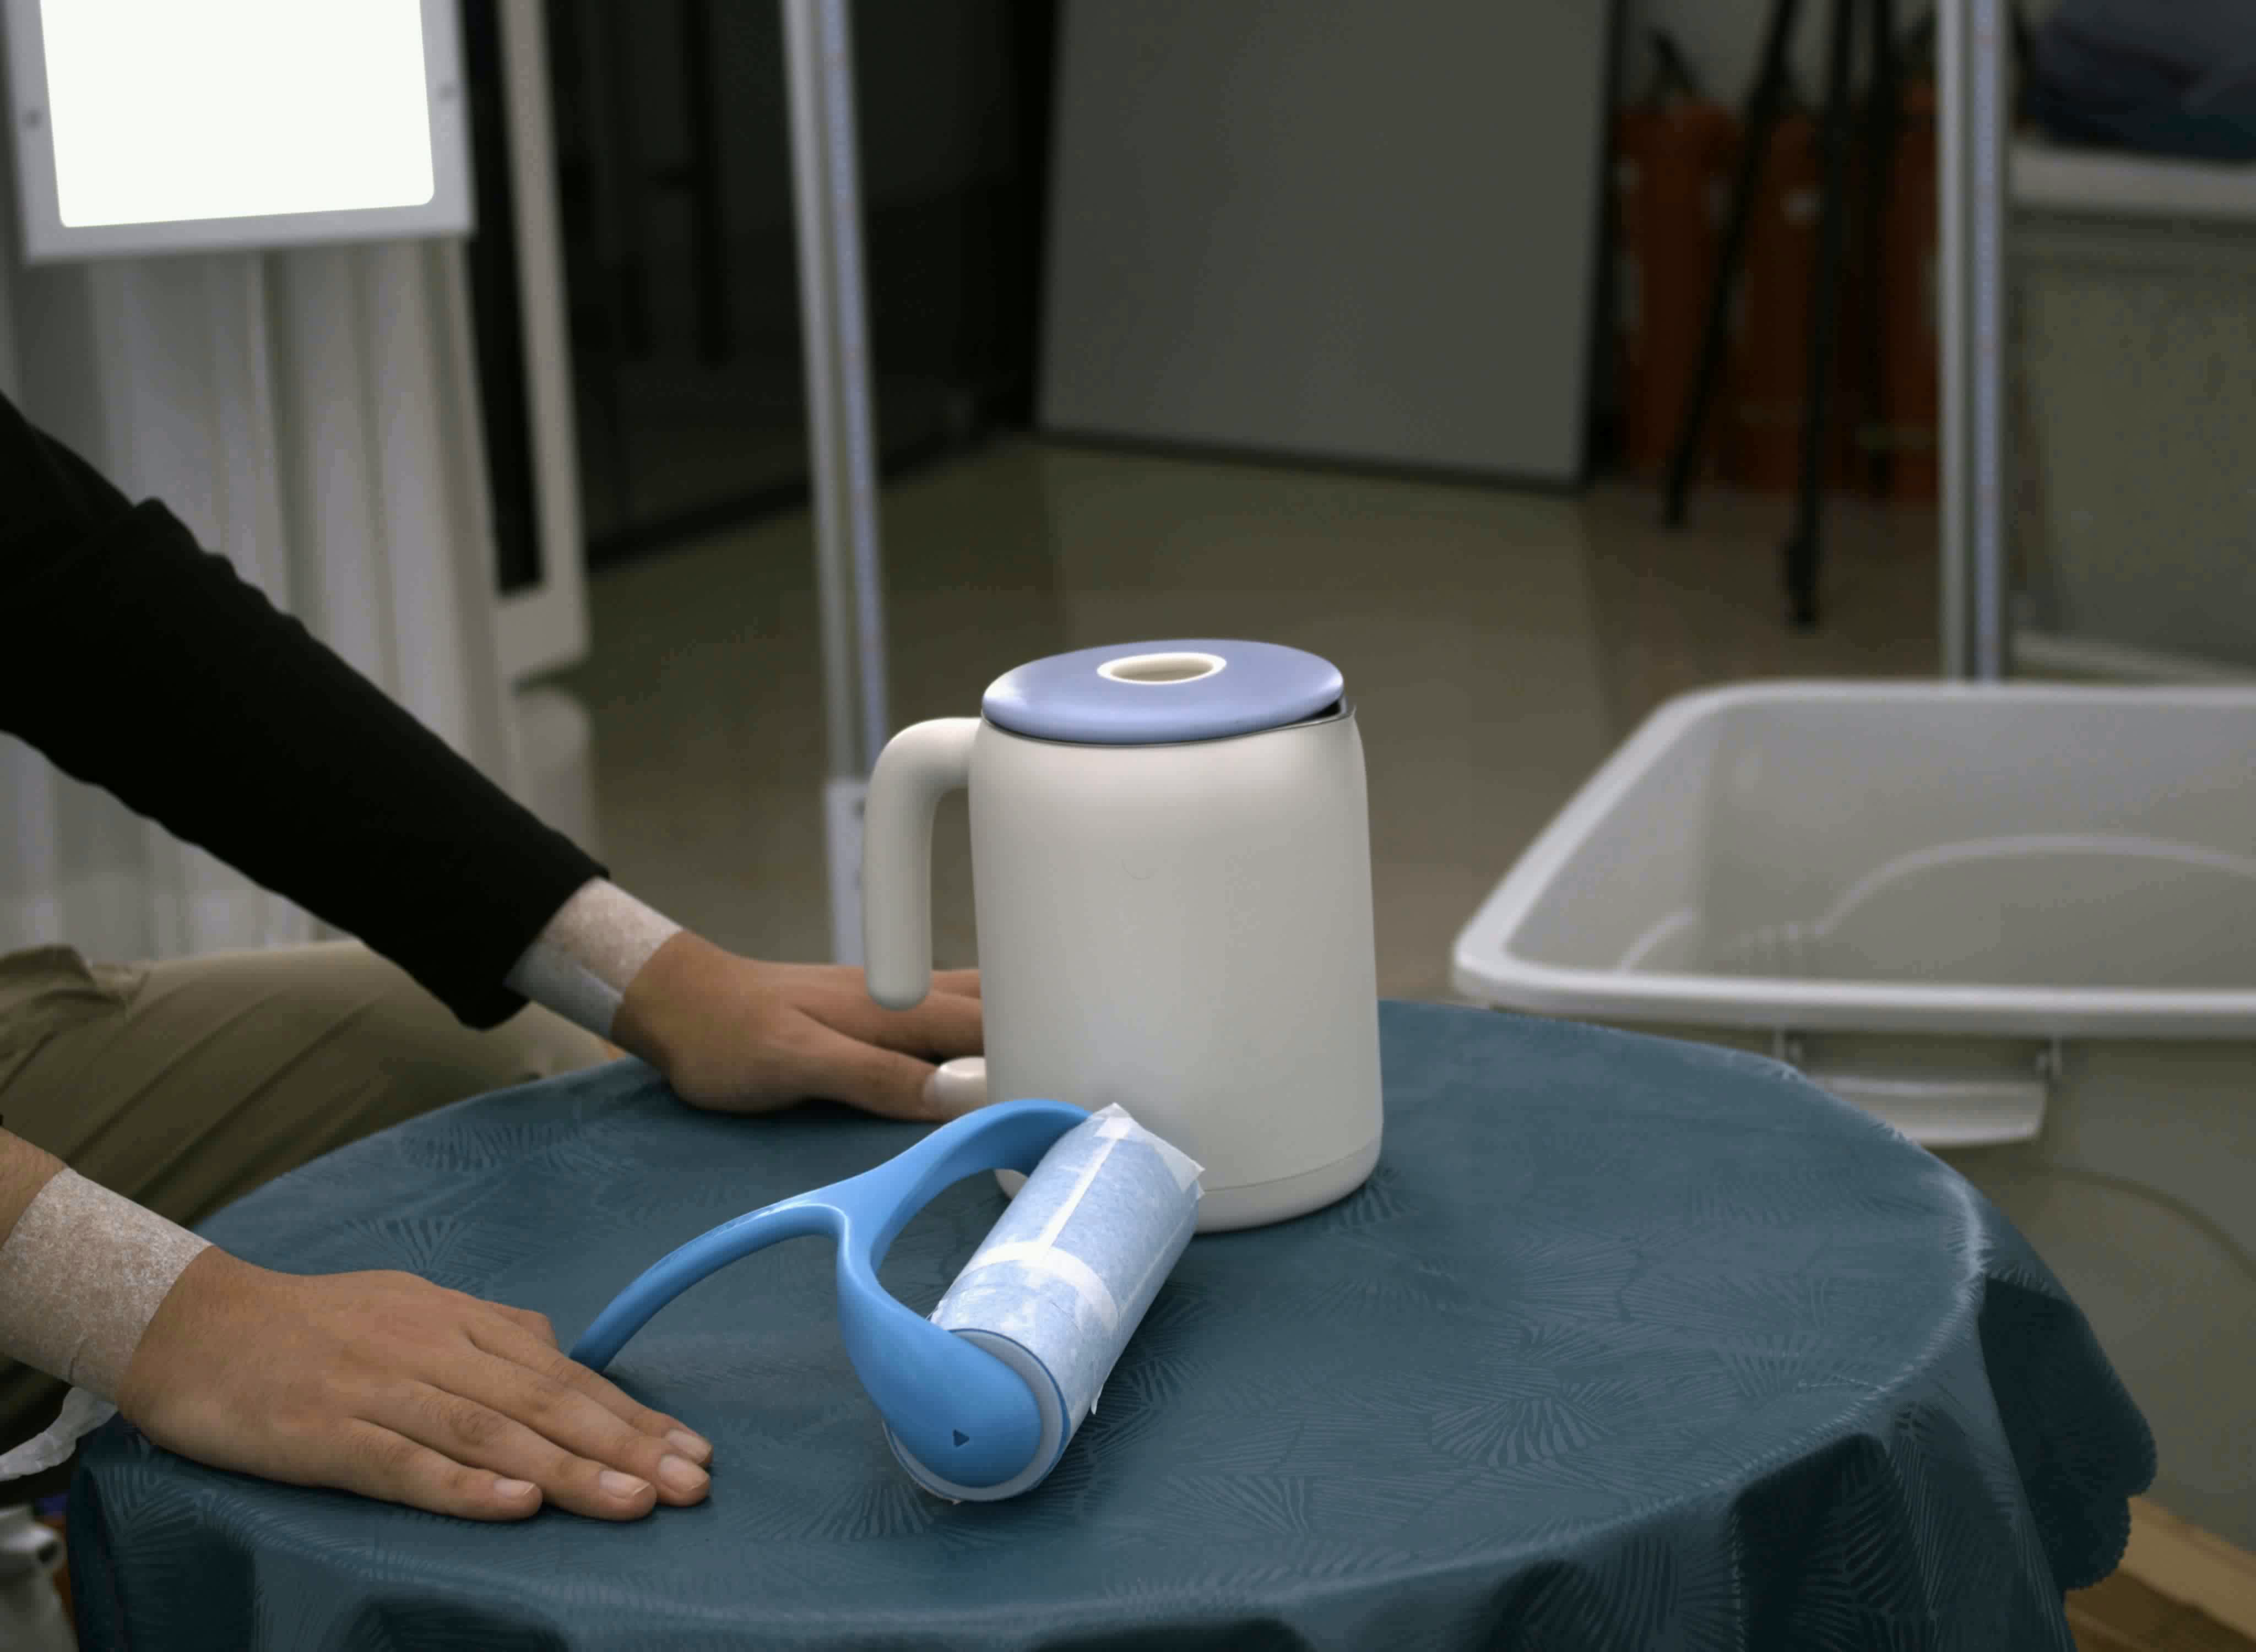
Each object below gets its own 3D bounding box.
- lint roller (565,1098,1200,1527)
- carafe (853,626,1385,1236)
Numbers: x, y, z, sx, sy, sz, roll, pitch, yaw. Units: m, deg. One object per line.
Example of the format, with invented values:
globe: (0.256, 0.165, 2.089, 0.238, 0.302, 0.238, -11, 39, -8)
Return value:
lint roller: (-0.081, 0.137, 1.602, 0.179, 0.068, 0.228, 5, 18, 10)
carafe: (-0.006, 0.033, 1.768, 0.191, 0.184, 0.130, 1, 13, 28)
